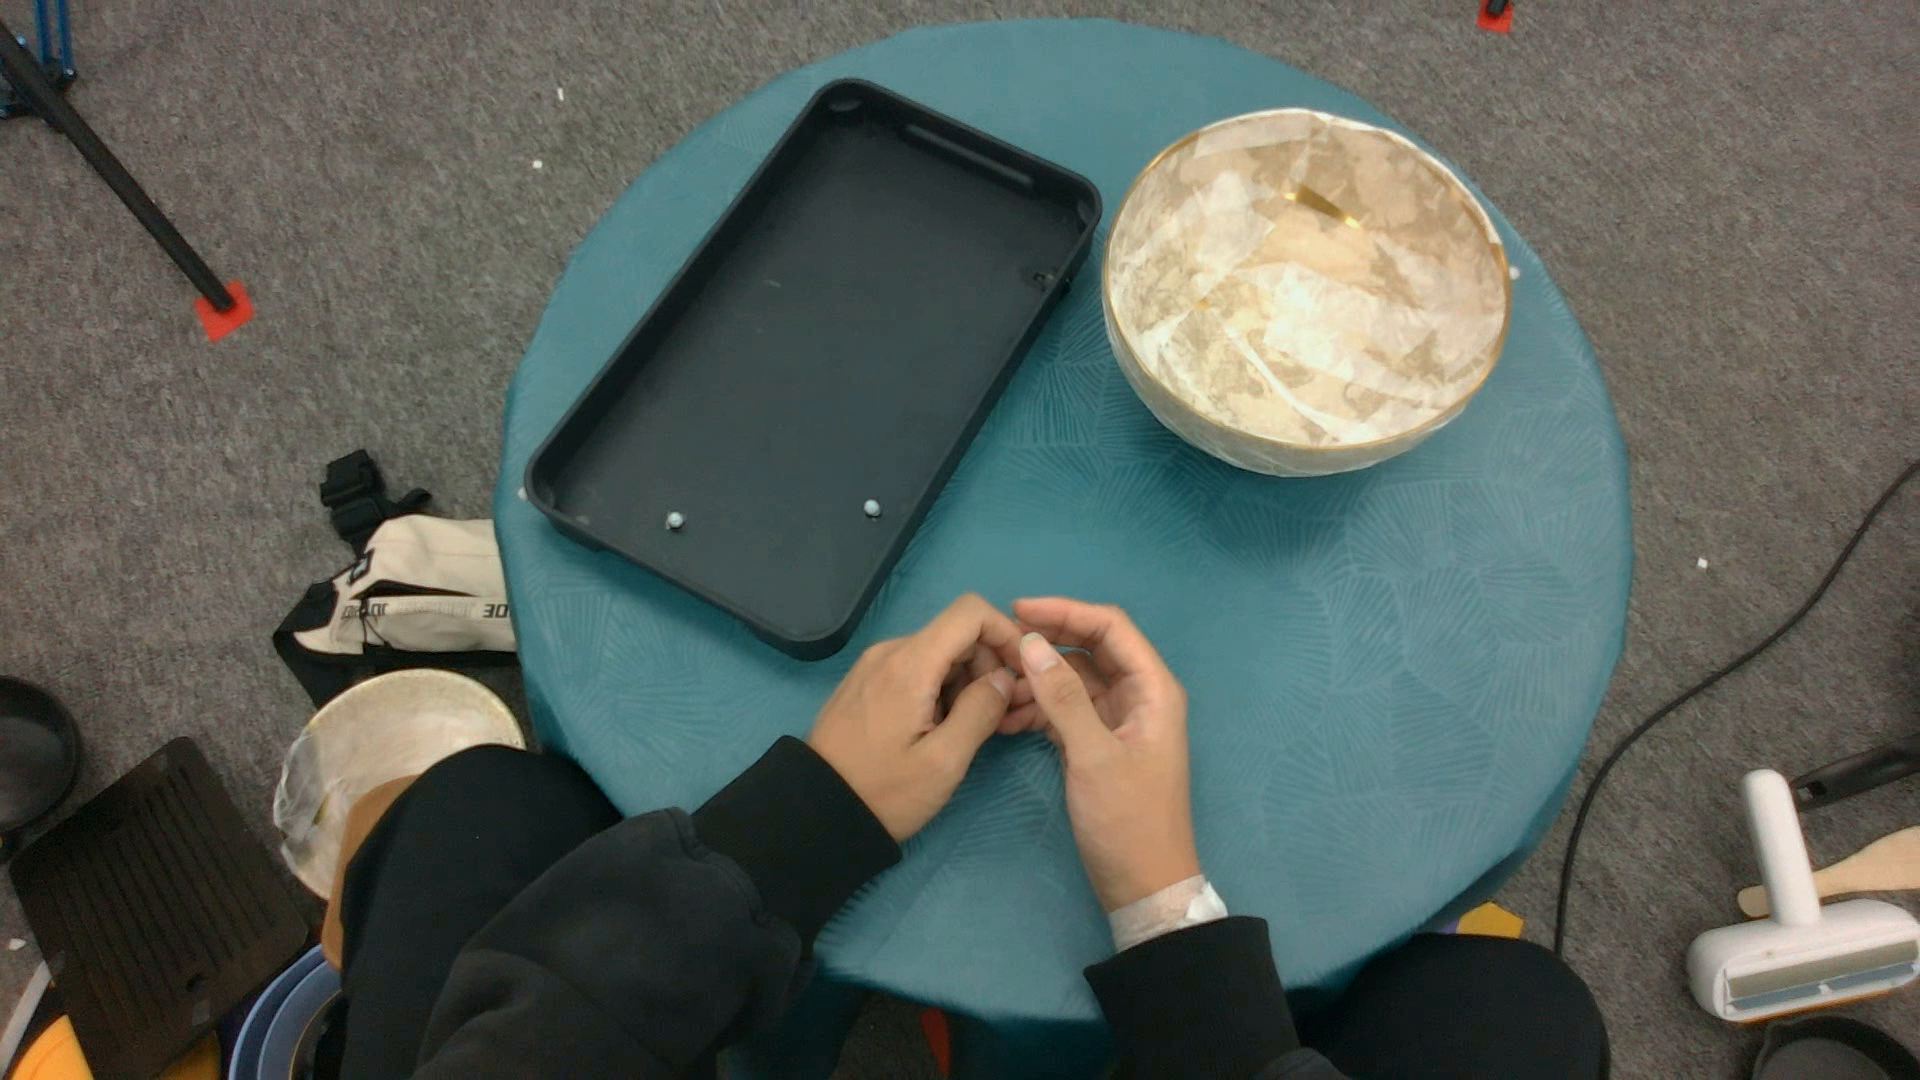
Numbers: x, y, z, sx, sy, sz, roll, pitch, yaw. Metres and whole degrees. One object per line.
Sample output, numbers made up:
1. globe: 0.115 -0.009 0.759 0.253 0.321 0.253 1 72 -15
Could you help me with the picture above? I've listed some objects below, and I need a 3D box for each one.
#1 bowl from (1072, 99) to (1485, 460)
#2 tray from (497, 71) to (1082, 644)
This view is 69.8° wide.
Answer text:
1. bowl: 0.154 -0.120 0.722 0.215 0.094 0.215 1 65 -3
2. tray: -0.081 -0.110 0.739 0.184 0.037 0.319 28 66 10
